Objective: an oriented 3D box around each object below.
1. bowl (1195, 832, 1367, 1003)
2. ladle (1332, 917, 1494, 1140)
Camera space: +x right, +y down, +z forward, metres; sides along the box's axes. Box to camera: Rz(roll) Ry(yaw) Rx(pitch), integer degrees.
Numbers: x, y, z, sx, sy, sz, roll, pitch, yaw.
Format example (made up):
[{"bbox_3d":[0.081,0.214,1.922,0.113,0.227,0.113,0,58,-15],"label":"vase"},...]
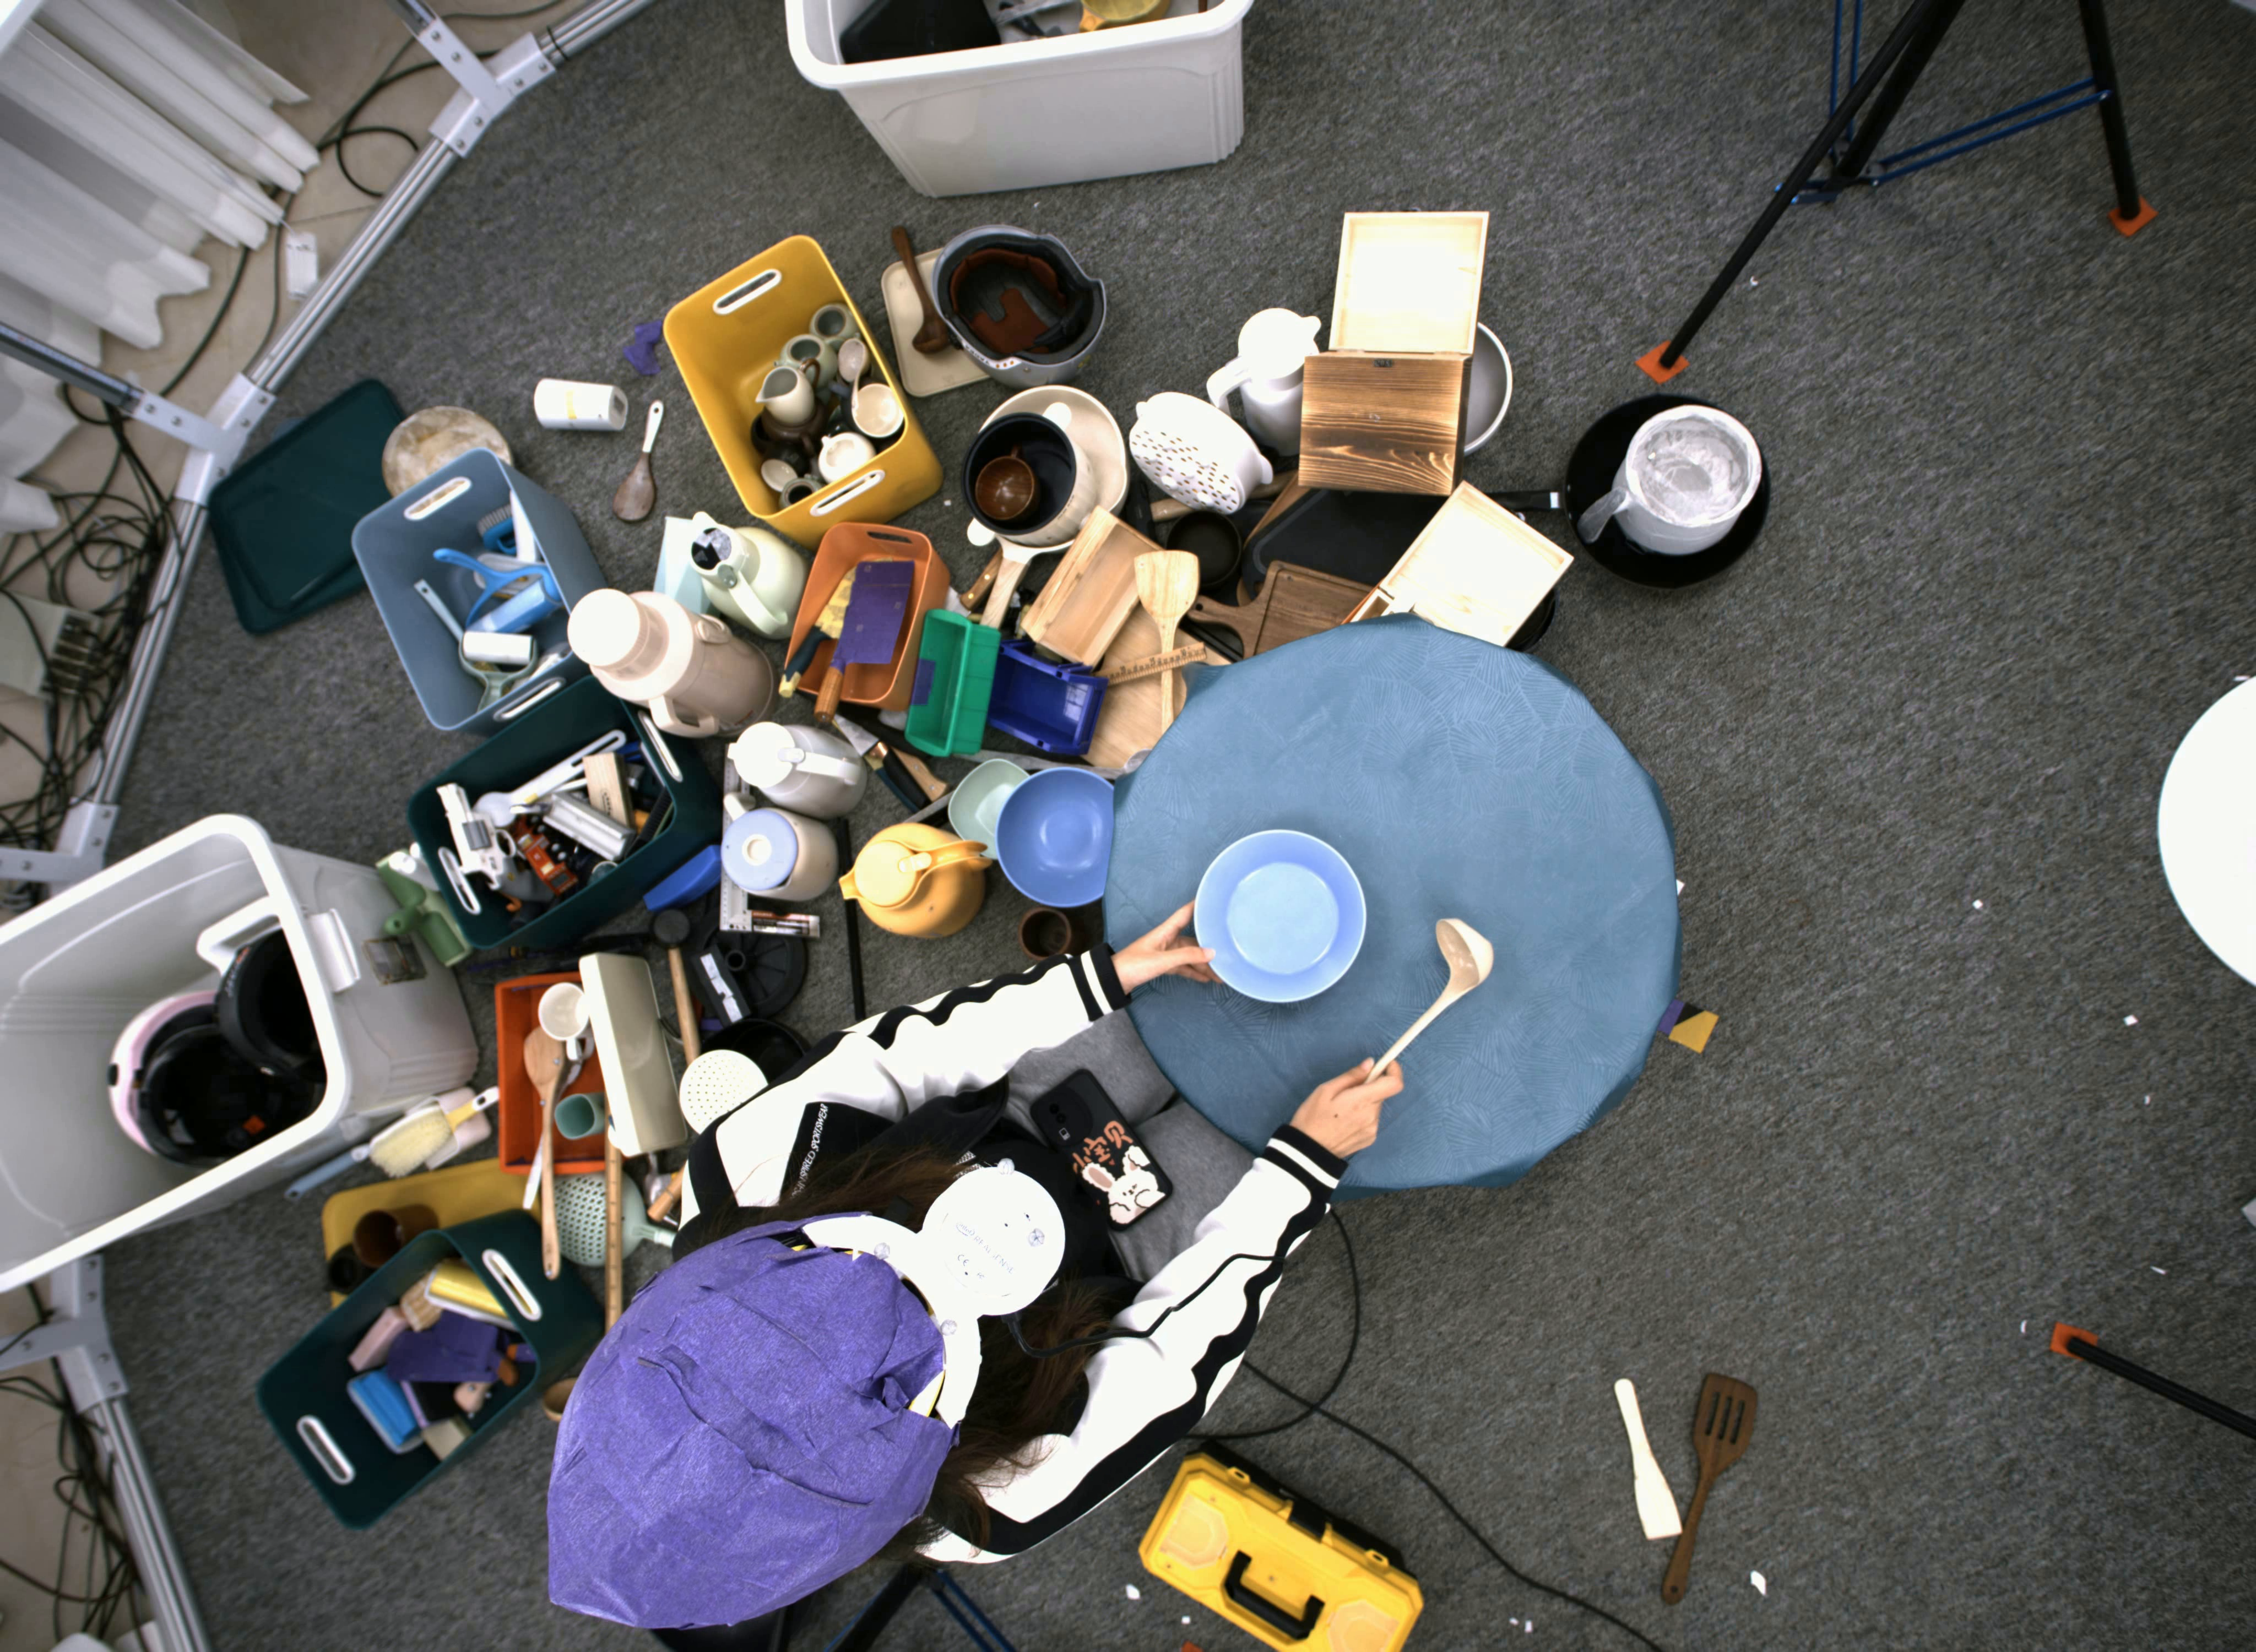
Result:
[{"bbox_3d":[0.161,0.096,1.444,0.177,0.070,0.175,-1,85,11],"label":"bowl"},{"bbox_3d":[0.269,0.199,1.384,0.073,0.071,0.255,39,92,-34],"label":"ladle"}]
